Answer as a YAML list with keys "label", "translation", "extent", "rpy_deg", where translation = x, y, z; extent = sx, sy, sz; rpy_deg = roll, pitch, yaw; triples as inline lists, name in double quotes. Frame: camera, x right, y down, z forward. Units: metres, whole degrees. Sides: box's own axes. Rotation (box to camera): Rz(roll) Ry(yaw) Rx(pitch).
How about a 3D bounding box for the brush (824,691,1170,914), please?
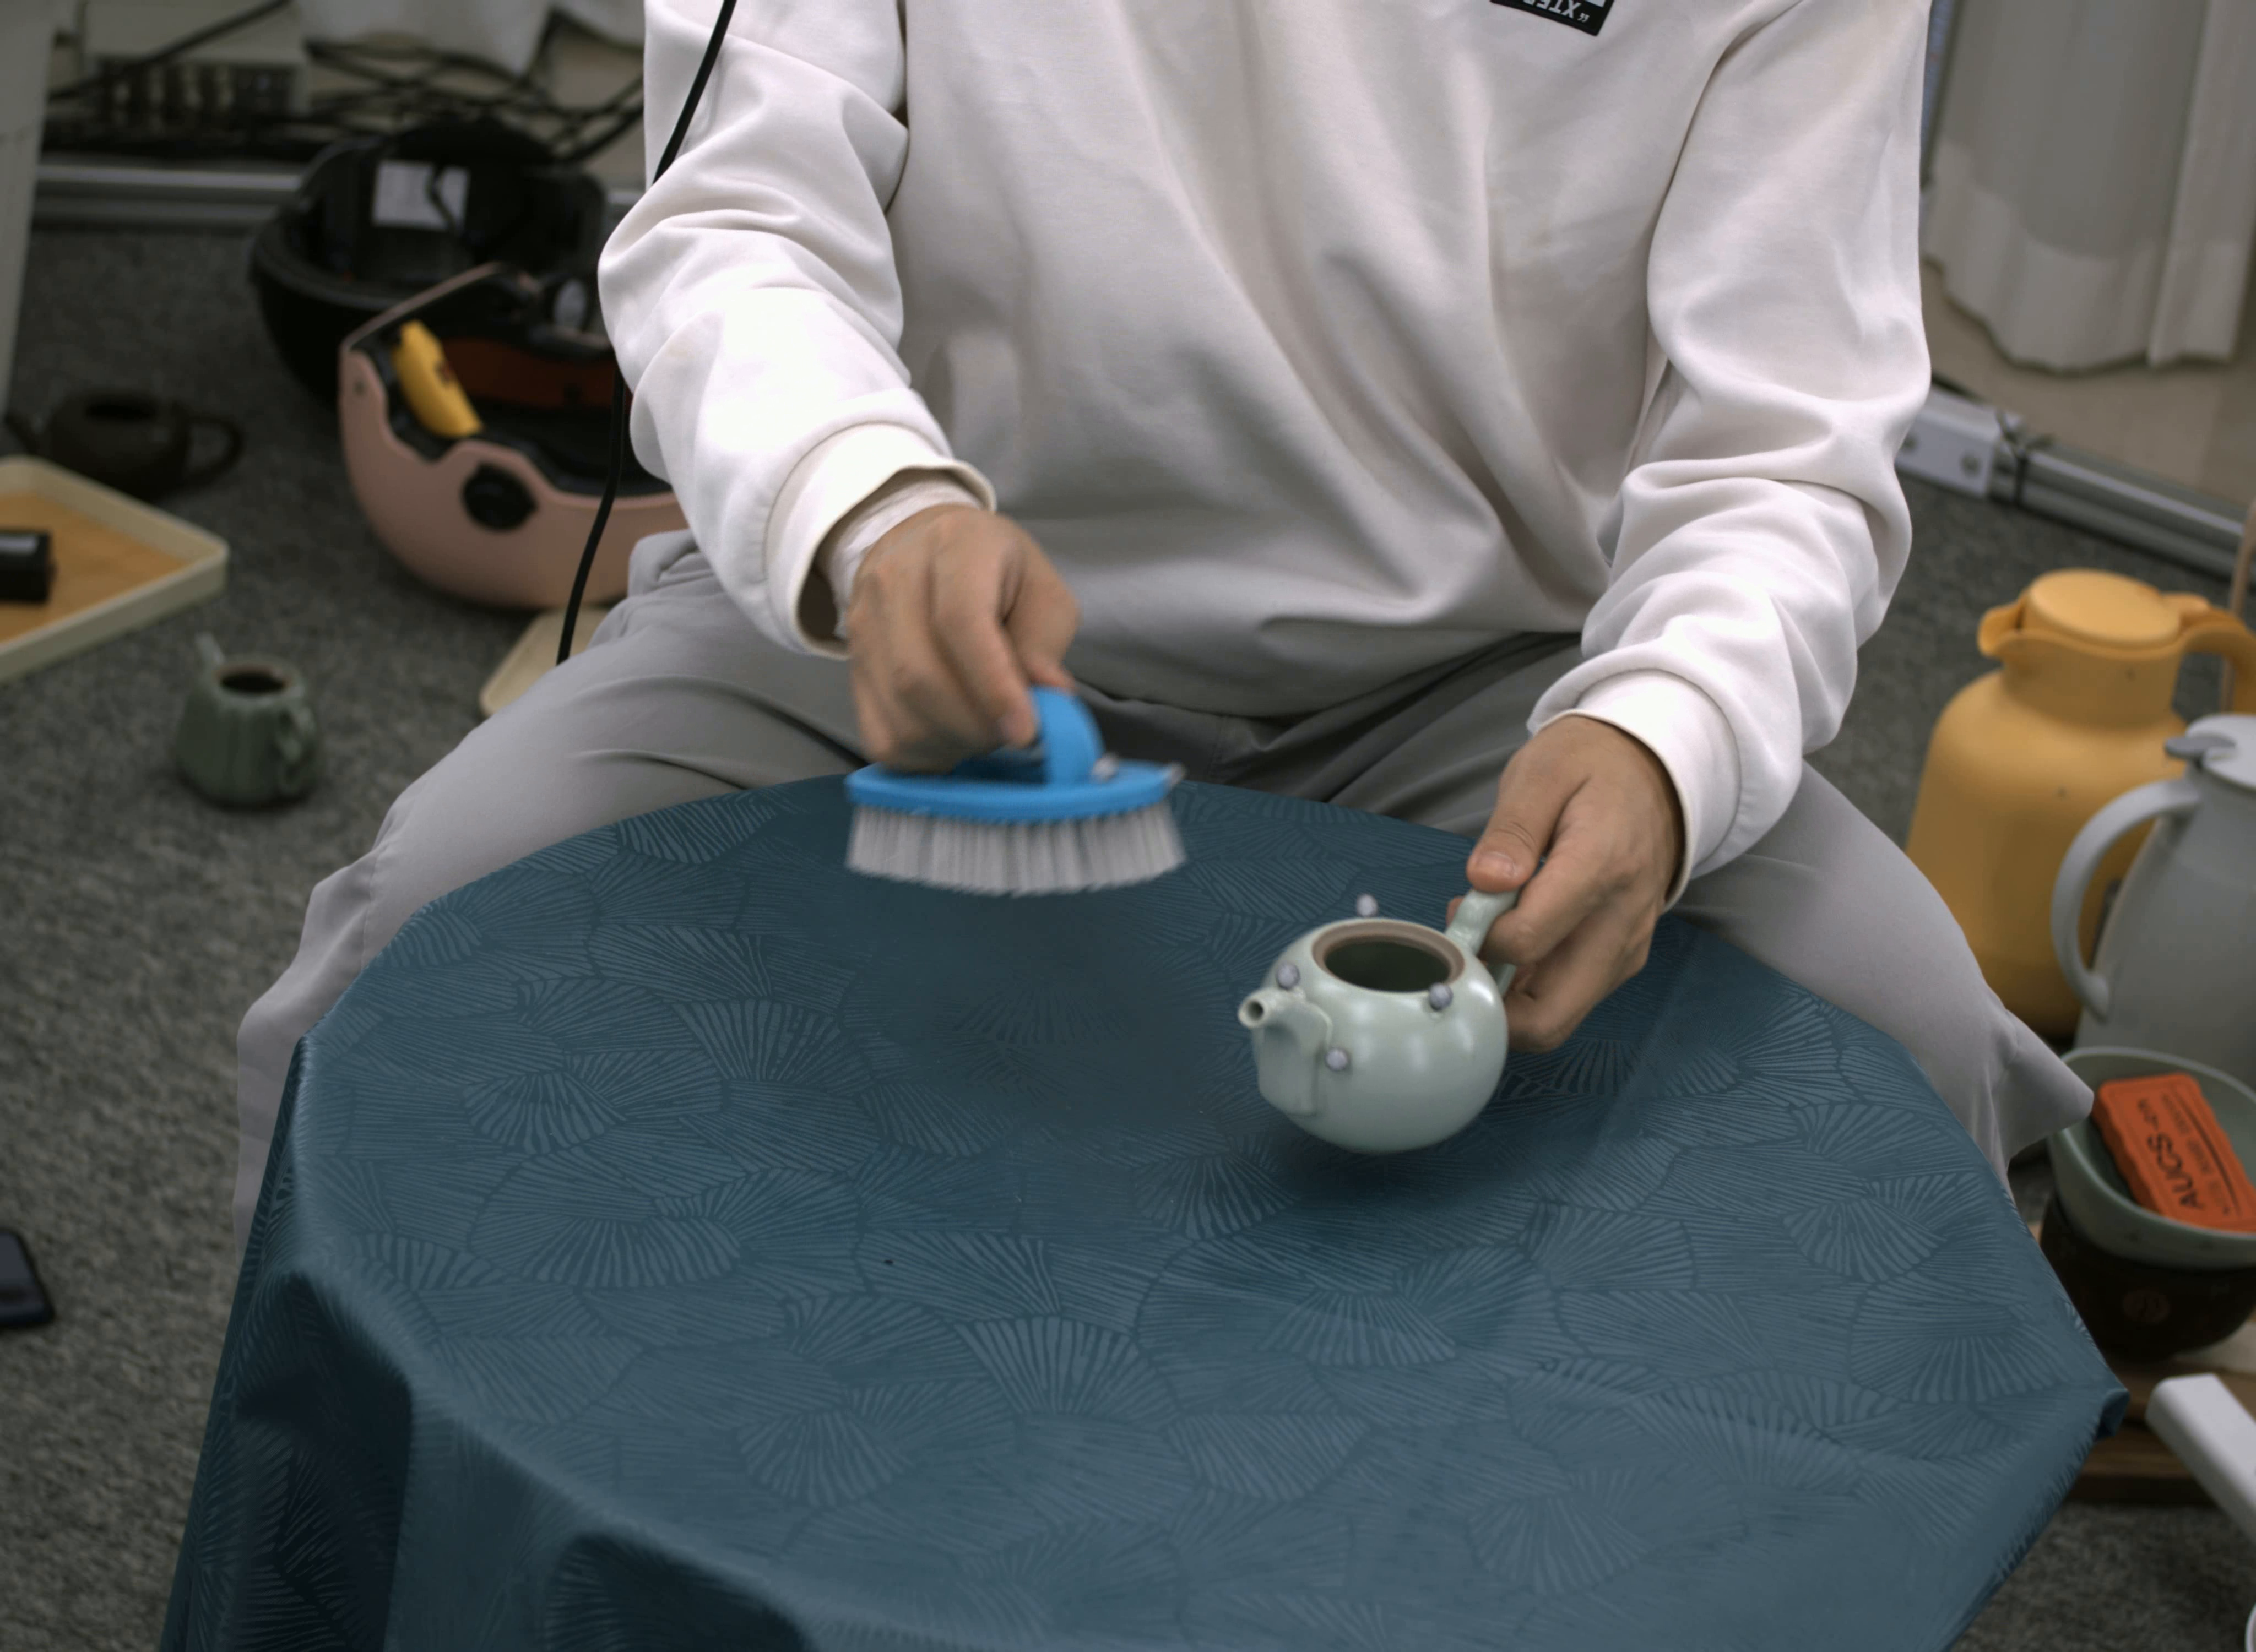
- label: "brush"
  translation: [-0.049, -0.013, 1.824]
  extent: [0.084, 0.064, 0.142]
  rpy_deg: [-16, 14, -34]

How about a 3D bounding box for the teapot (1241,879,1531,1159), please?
- label: "teapot"
  translation: [0.088, 0.072, 1.822]
  extent: [0.143, 0.074, 0.089]
  rpy_deg: [-24, 36, -38]
